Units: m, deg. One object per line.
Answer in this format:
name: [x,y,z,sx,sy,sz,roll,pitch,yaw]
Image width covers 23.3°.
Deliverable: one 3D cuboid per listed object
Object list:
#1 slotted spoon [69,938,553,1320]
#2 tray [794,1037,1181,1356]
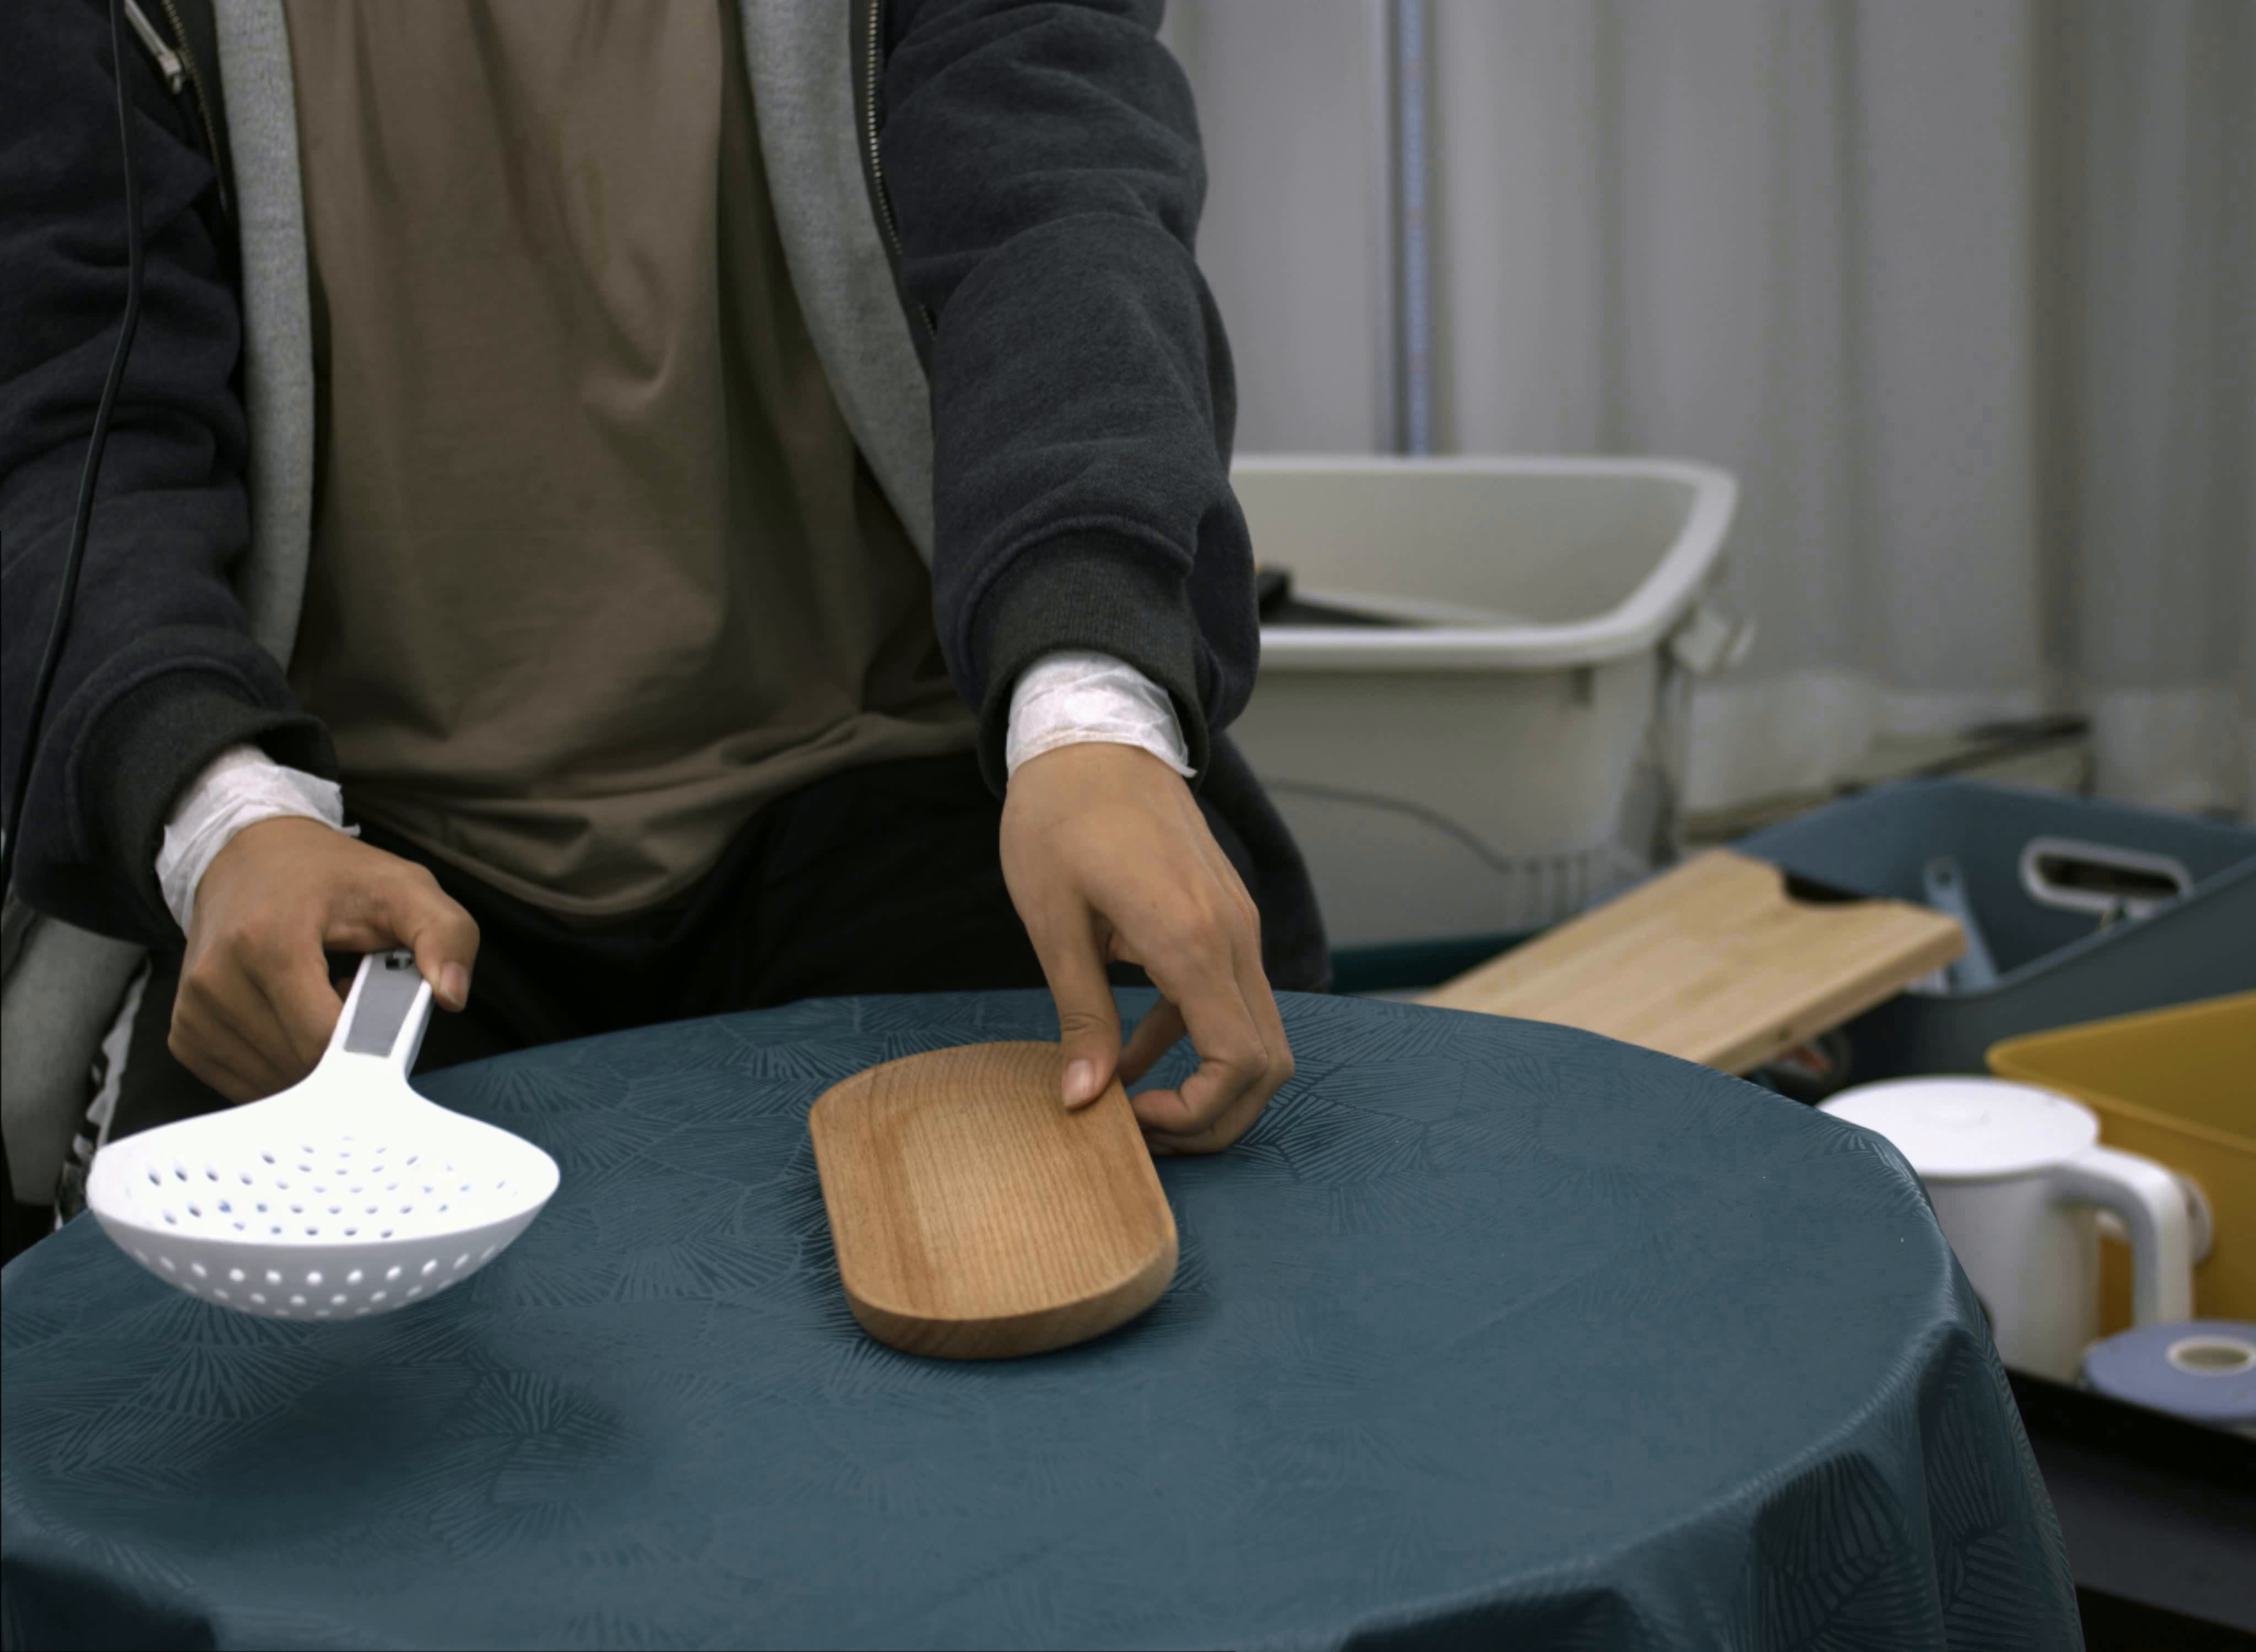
slotted spoon: [-0.234,0.082,1.650,0.135,0.045,0.352,2,17,-3]
tray: [-0.045,0.112,1.681,0.101,0.020,0.233,-8,17,-7]
